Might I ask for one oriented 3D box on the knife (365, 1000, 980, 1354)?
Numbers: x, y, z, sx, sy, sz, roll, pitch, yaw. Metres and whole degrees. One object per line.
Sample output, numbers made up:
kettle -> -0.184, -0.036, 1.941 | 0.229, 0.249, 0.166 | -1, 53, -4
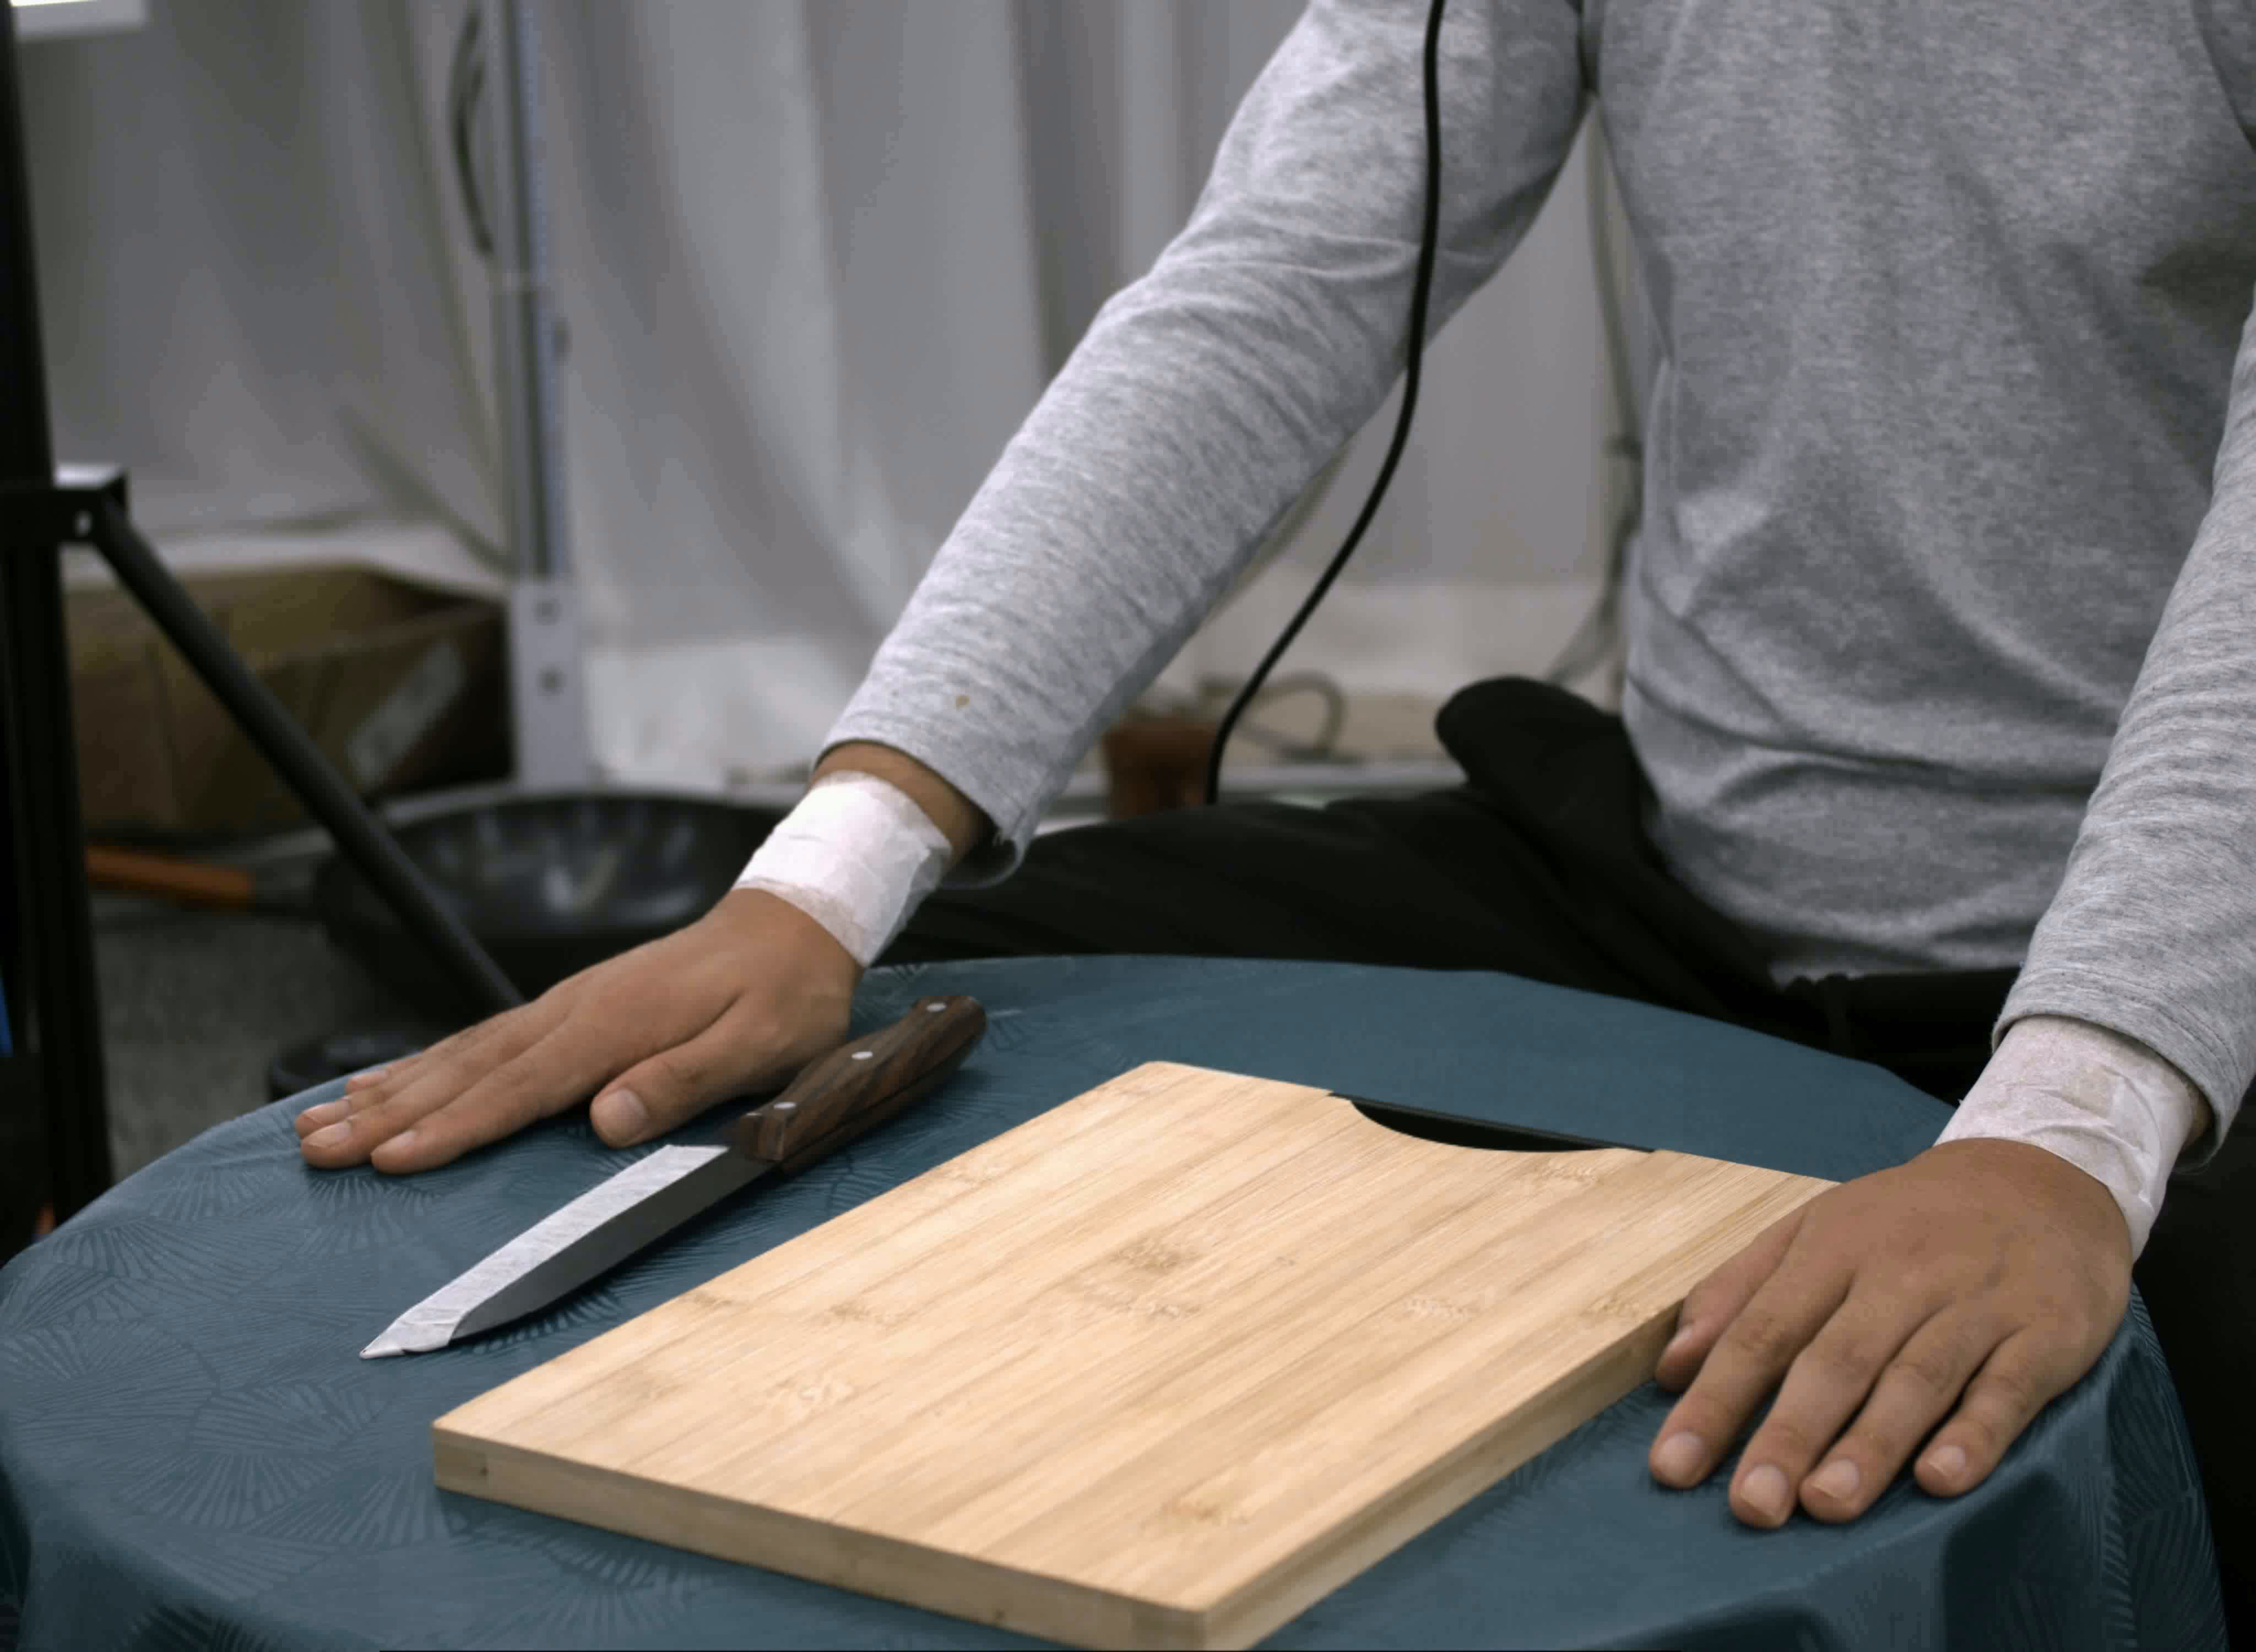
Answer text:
knife -> -0.129, 0.104, 1.569 | 0.051, 0.020, 0.284 | 2, 18, 34

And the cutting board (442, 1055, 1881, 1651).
cutting board -> 0.016, 0.136, 1.433 | 0.256, 0.023, 0.342 | 9, 19, 33
